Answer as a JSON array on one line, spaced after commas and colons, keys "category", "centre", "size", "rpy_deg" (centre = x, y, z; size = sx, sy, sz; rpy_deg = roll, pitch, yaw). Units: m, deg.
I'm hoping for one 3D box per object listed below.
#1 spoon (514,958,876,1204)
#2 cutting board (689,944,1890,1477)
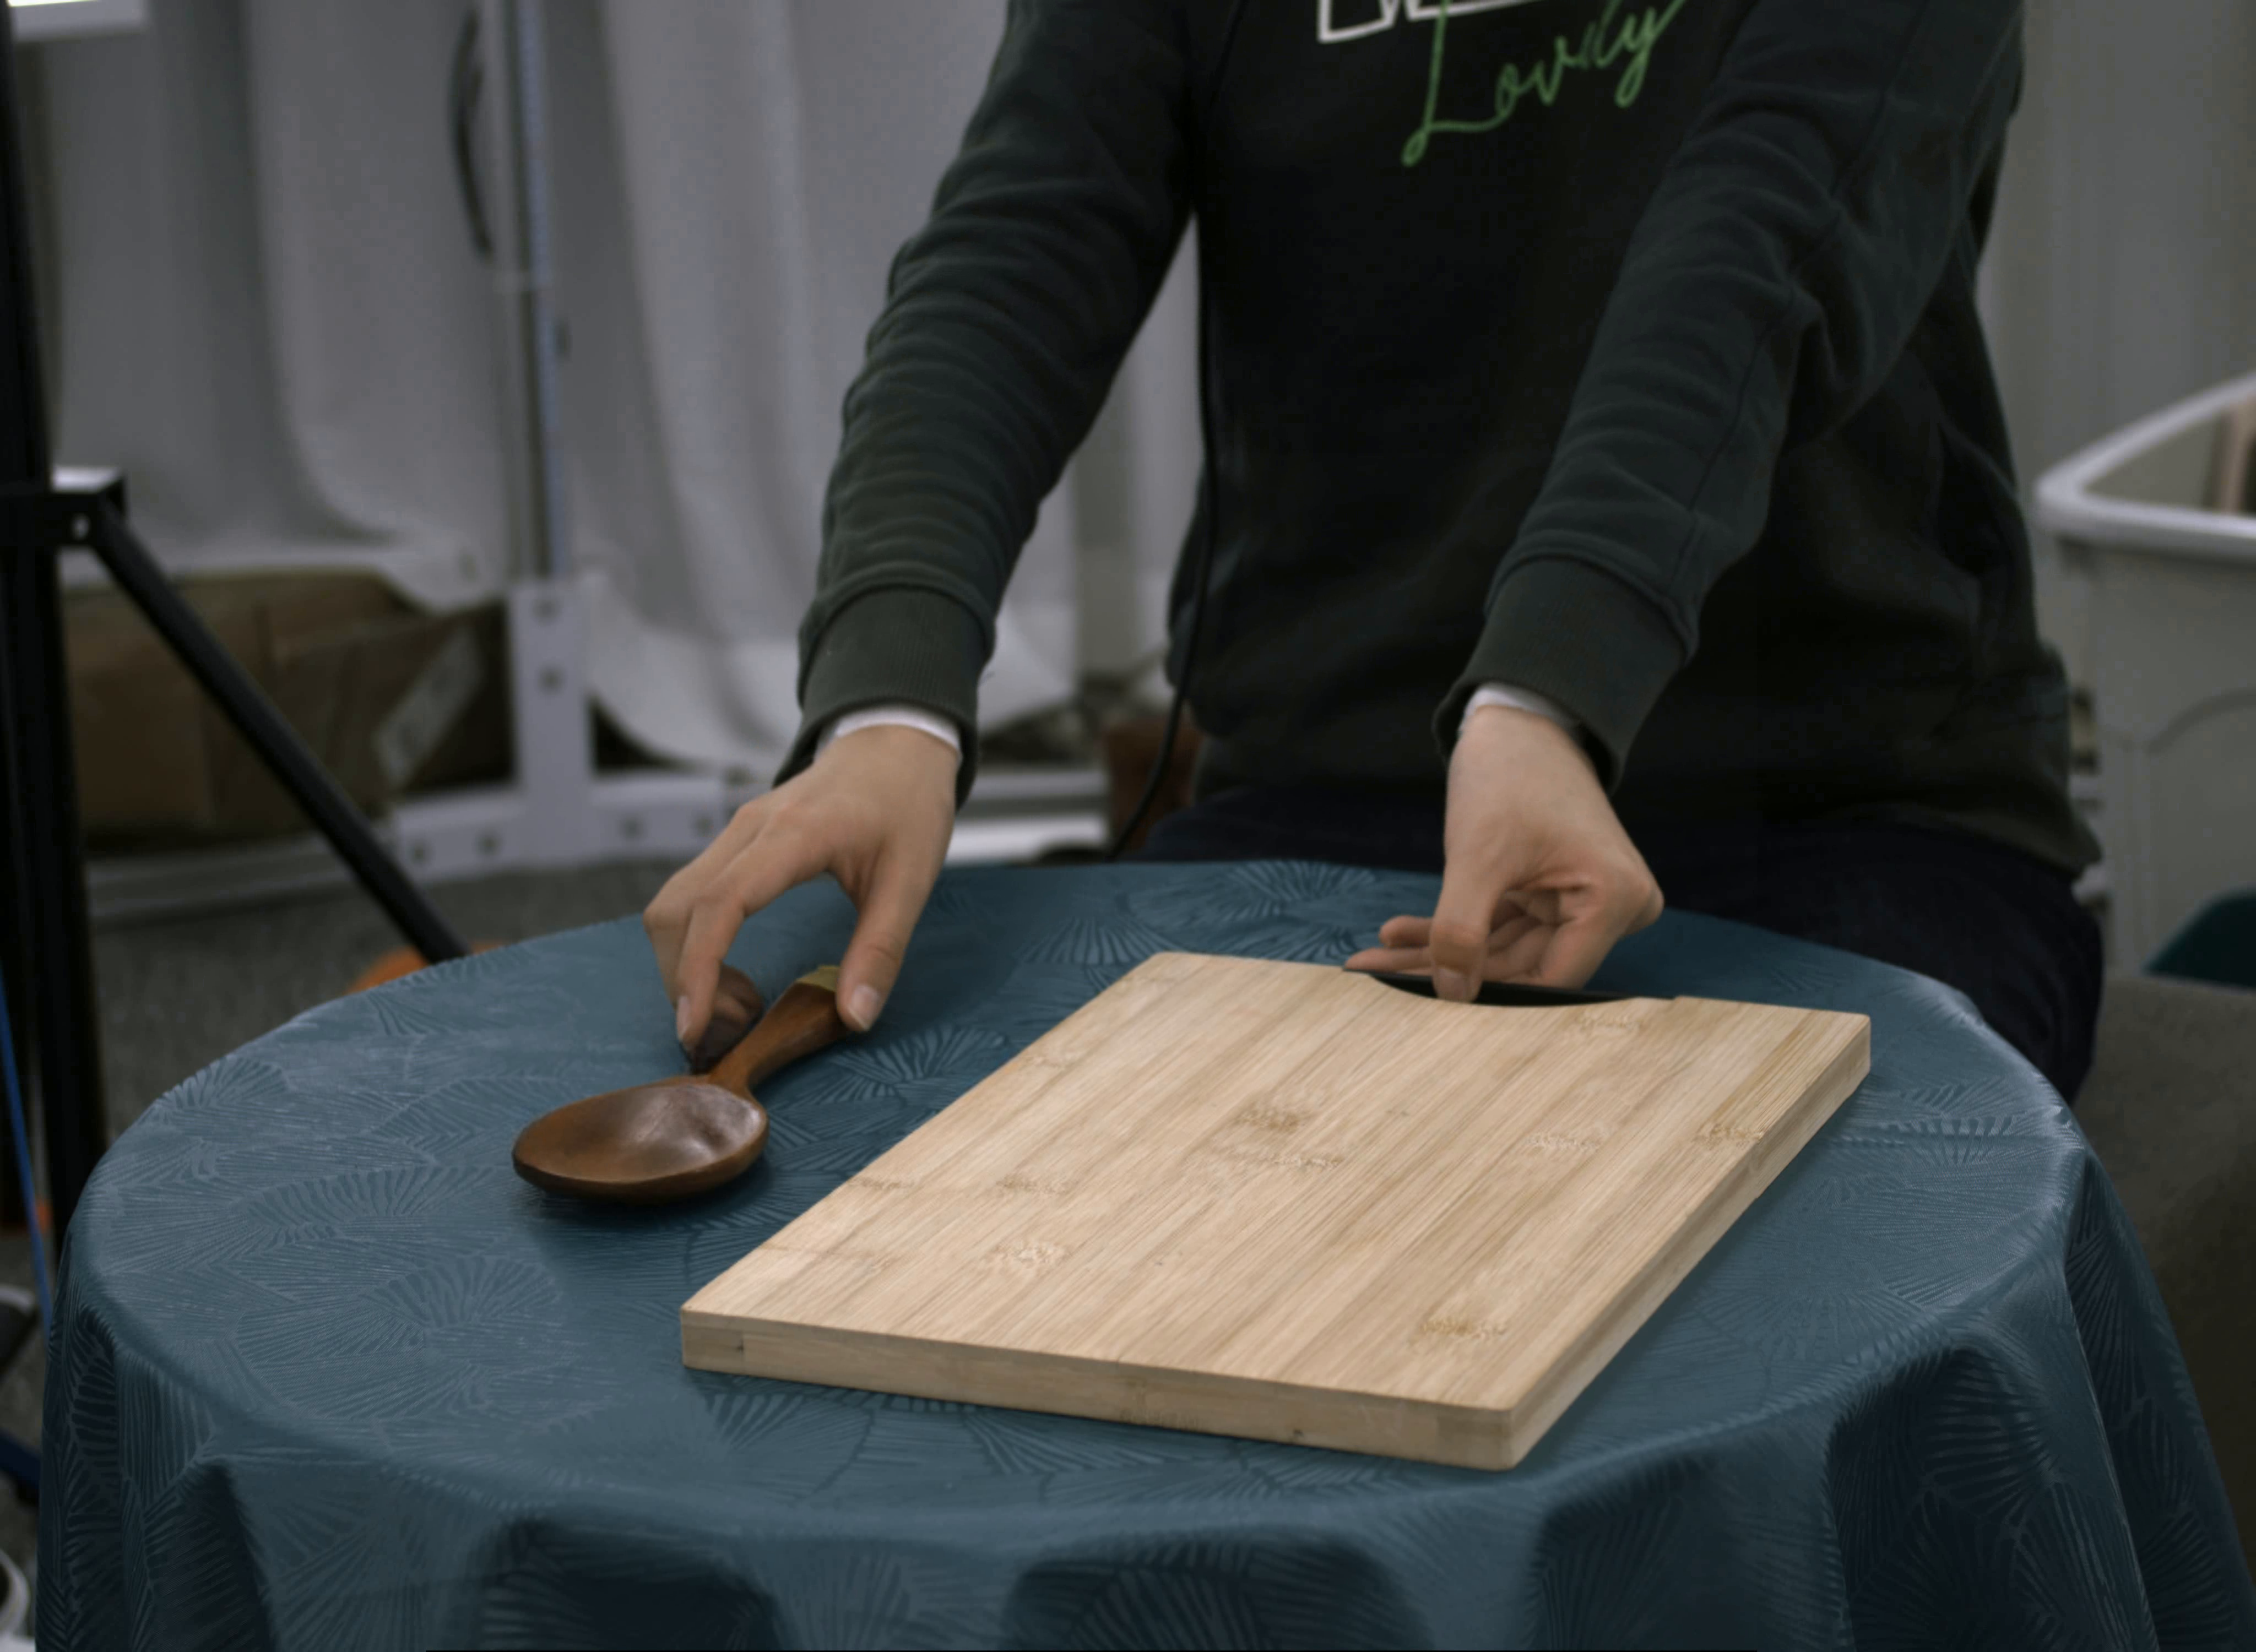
[{"category": "spoon", "centre": [-0.123, 0.080, 1.645], "size": [0.076, 0.017, 0.213], "rpy_deg": [1, 17, 19]}, {"category": "cutting board", "centre": [0.057, 0.102, 1.540], "size": [0.254, 0.023, 0.344], "rpy_deg": [5, 17, 23]}]
